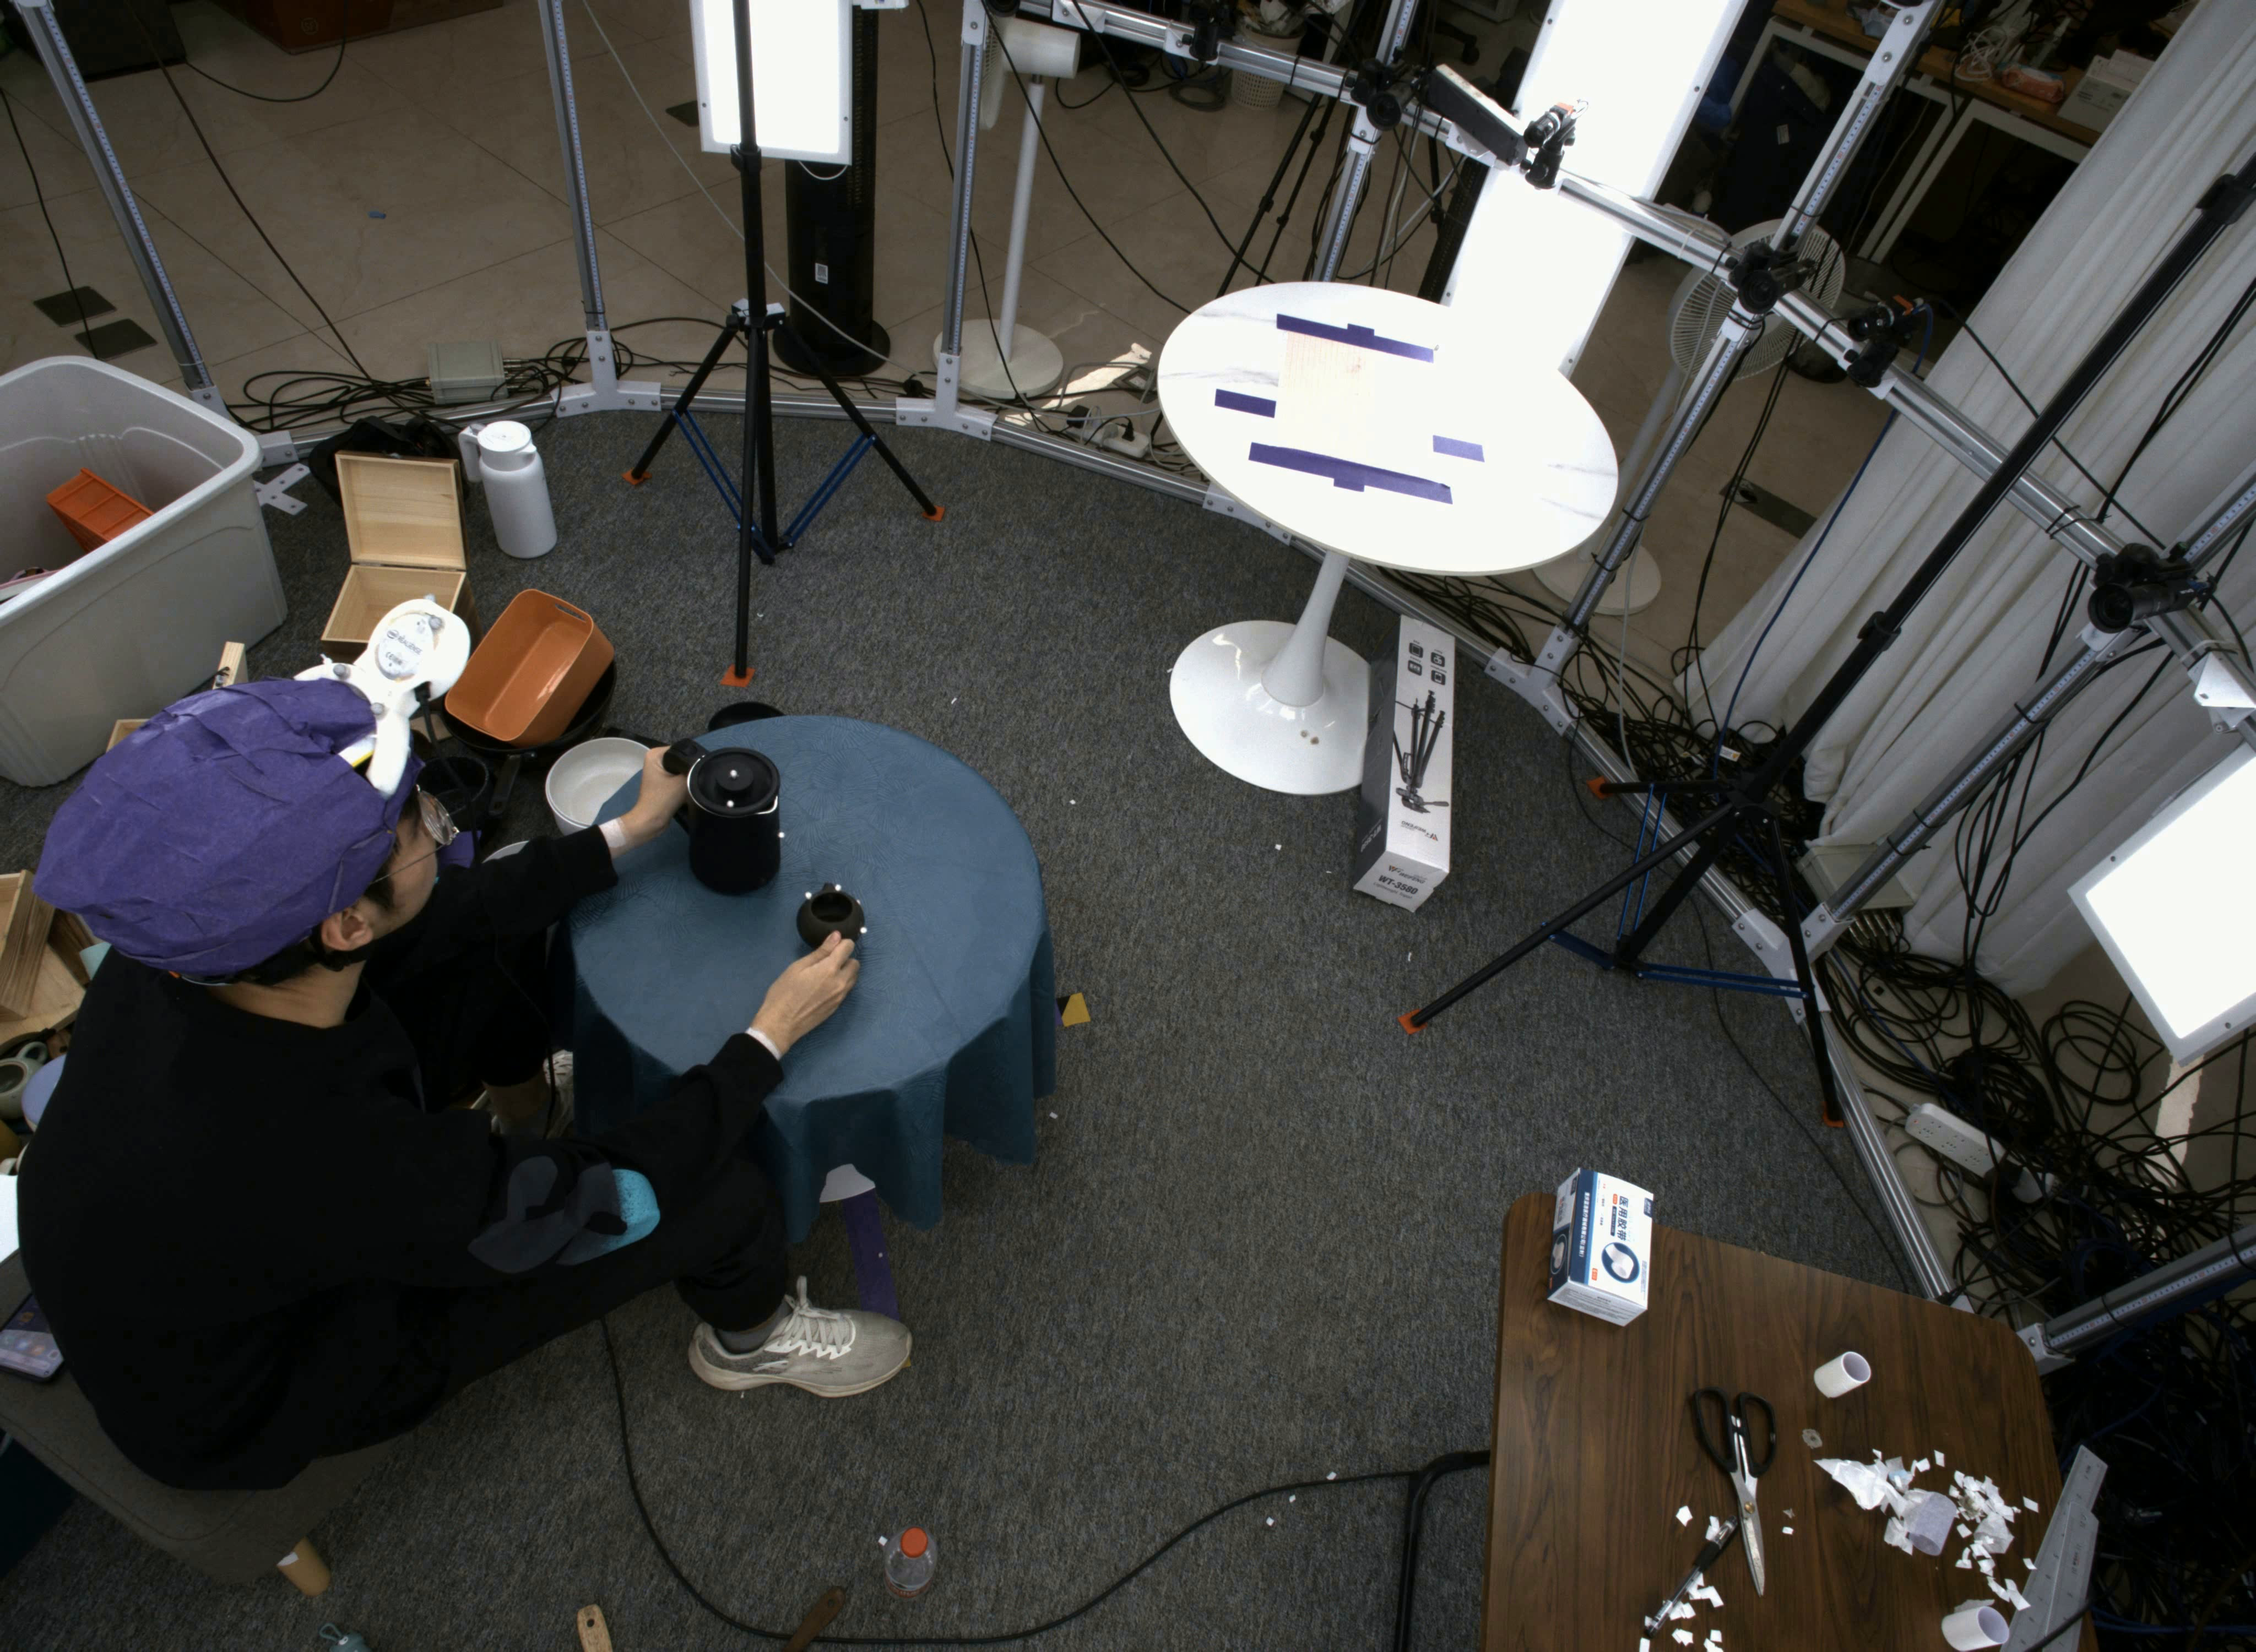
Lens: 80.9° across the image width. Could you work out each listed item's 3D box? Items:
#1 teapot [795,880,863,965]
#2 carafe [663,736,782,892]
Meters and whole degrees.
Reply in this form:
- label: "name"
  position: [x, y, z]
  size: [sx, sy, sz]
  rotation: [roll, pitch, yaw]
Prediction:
- label: "teapot"
  position: [-0.367, 0.119, 1.595]
  size: [0.083, 0.054, 0.111]
  rotation: [1, 44, -15]
- label: "carafe"
  position: [-0.508, -0.024, 1.606]
  size: [0.169, 0.176, 0.114]
  rotation: [33, 53, 8]
